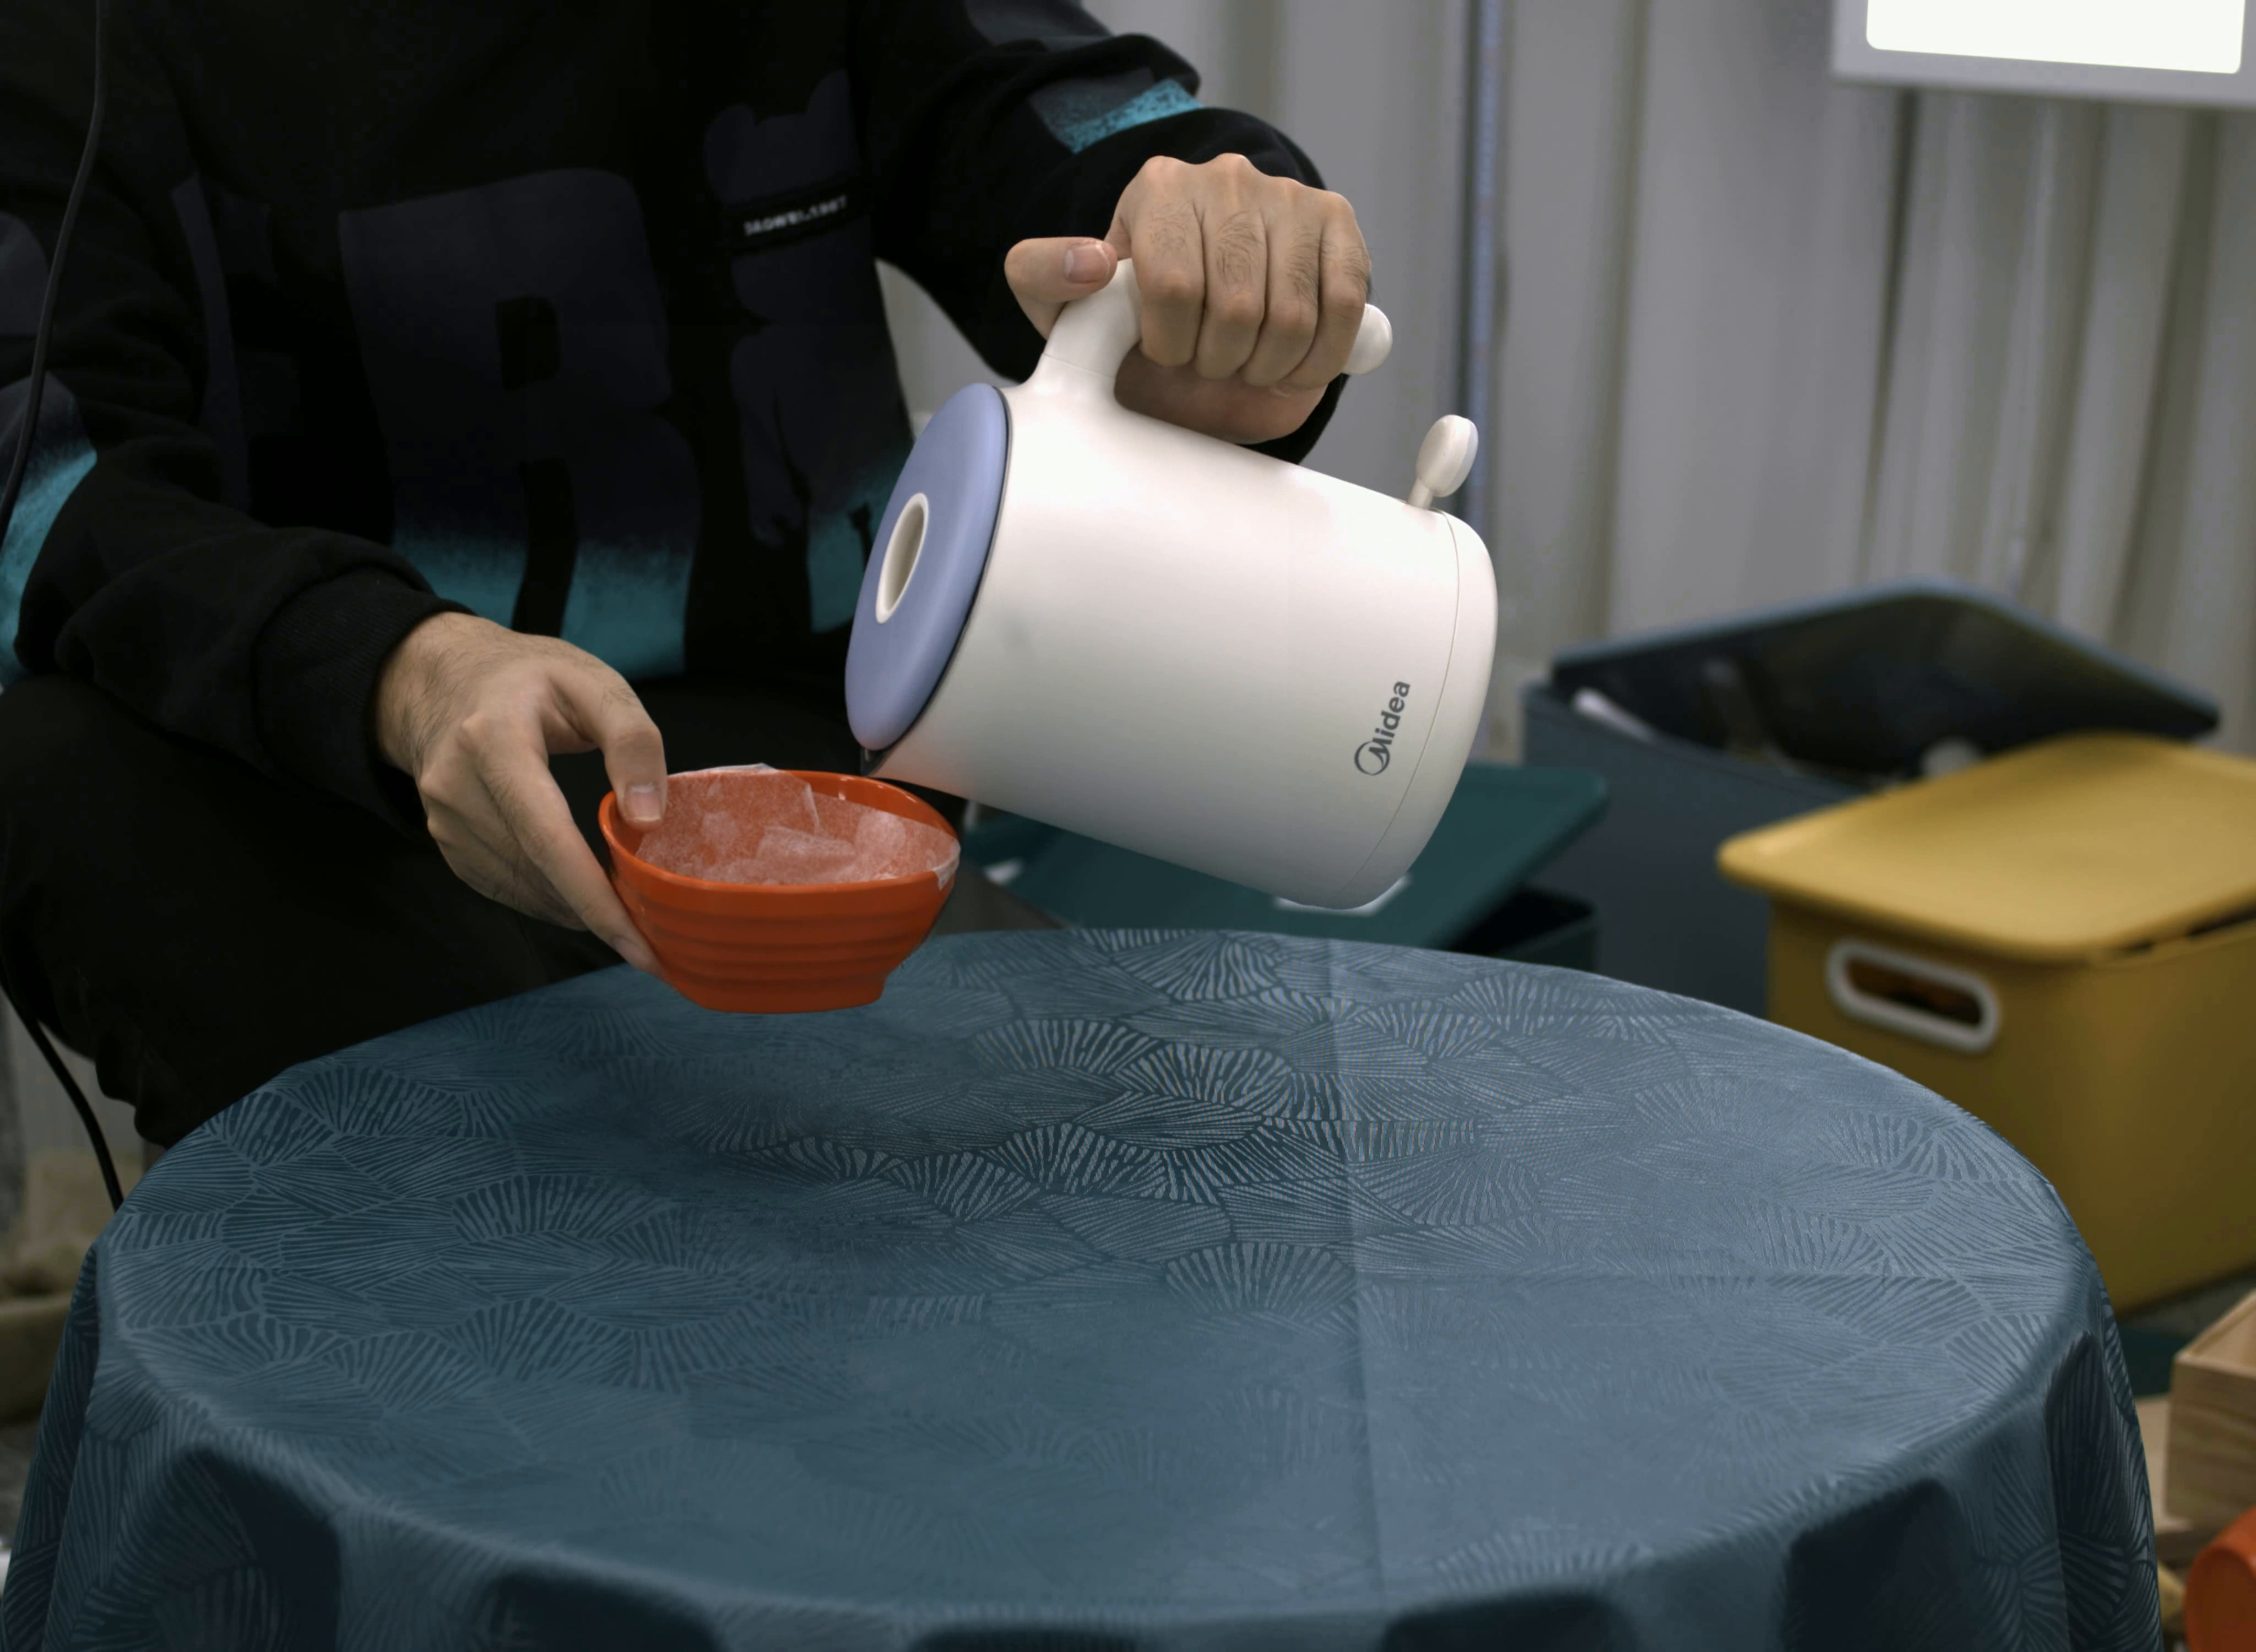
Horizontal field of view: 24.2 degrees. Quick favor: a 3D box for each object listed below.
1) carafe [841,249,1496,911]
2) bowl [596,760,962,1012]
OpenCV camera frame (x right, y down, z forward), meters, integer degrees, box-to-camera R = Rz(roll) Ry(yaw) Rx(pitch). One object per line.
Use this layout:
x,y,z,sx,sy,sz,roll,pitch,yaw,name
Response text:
0.020,-0.081,1.634,0.183,0.191,0.131,19,4,-19,carafe
-0.109,0.021,1.635,0.118,0.052,0.118,3,21,-1,bowl
